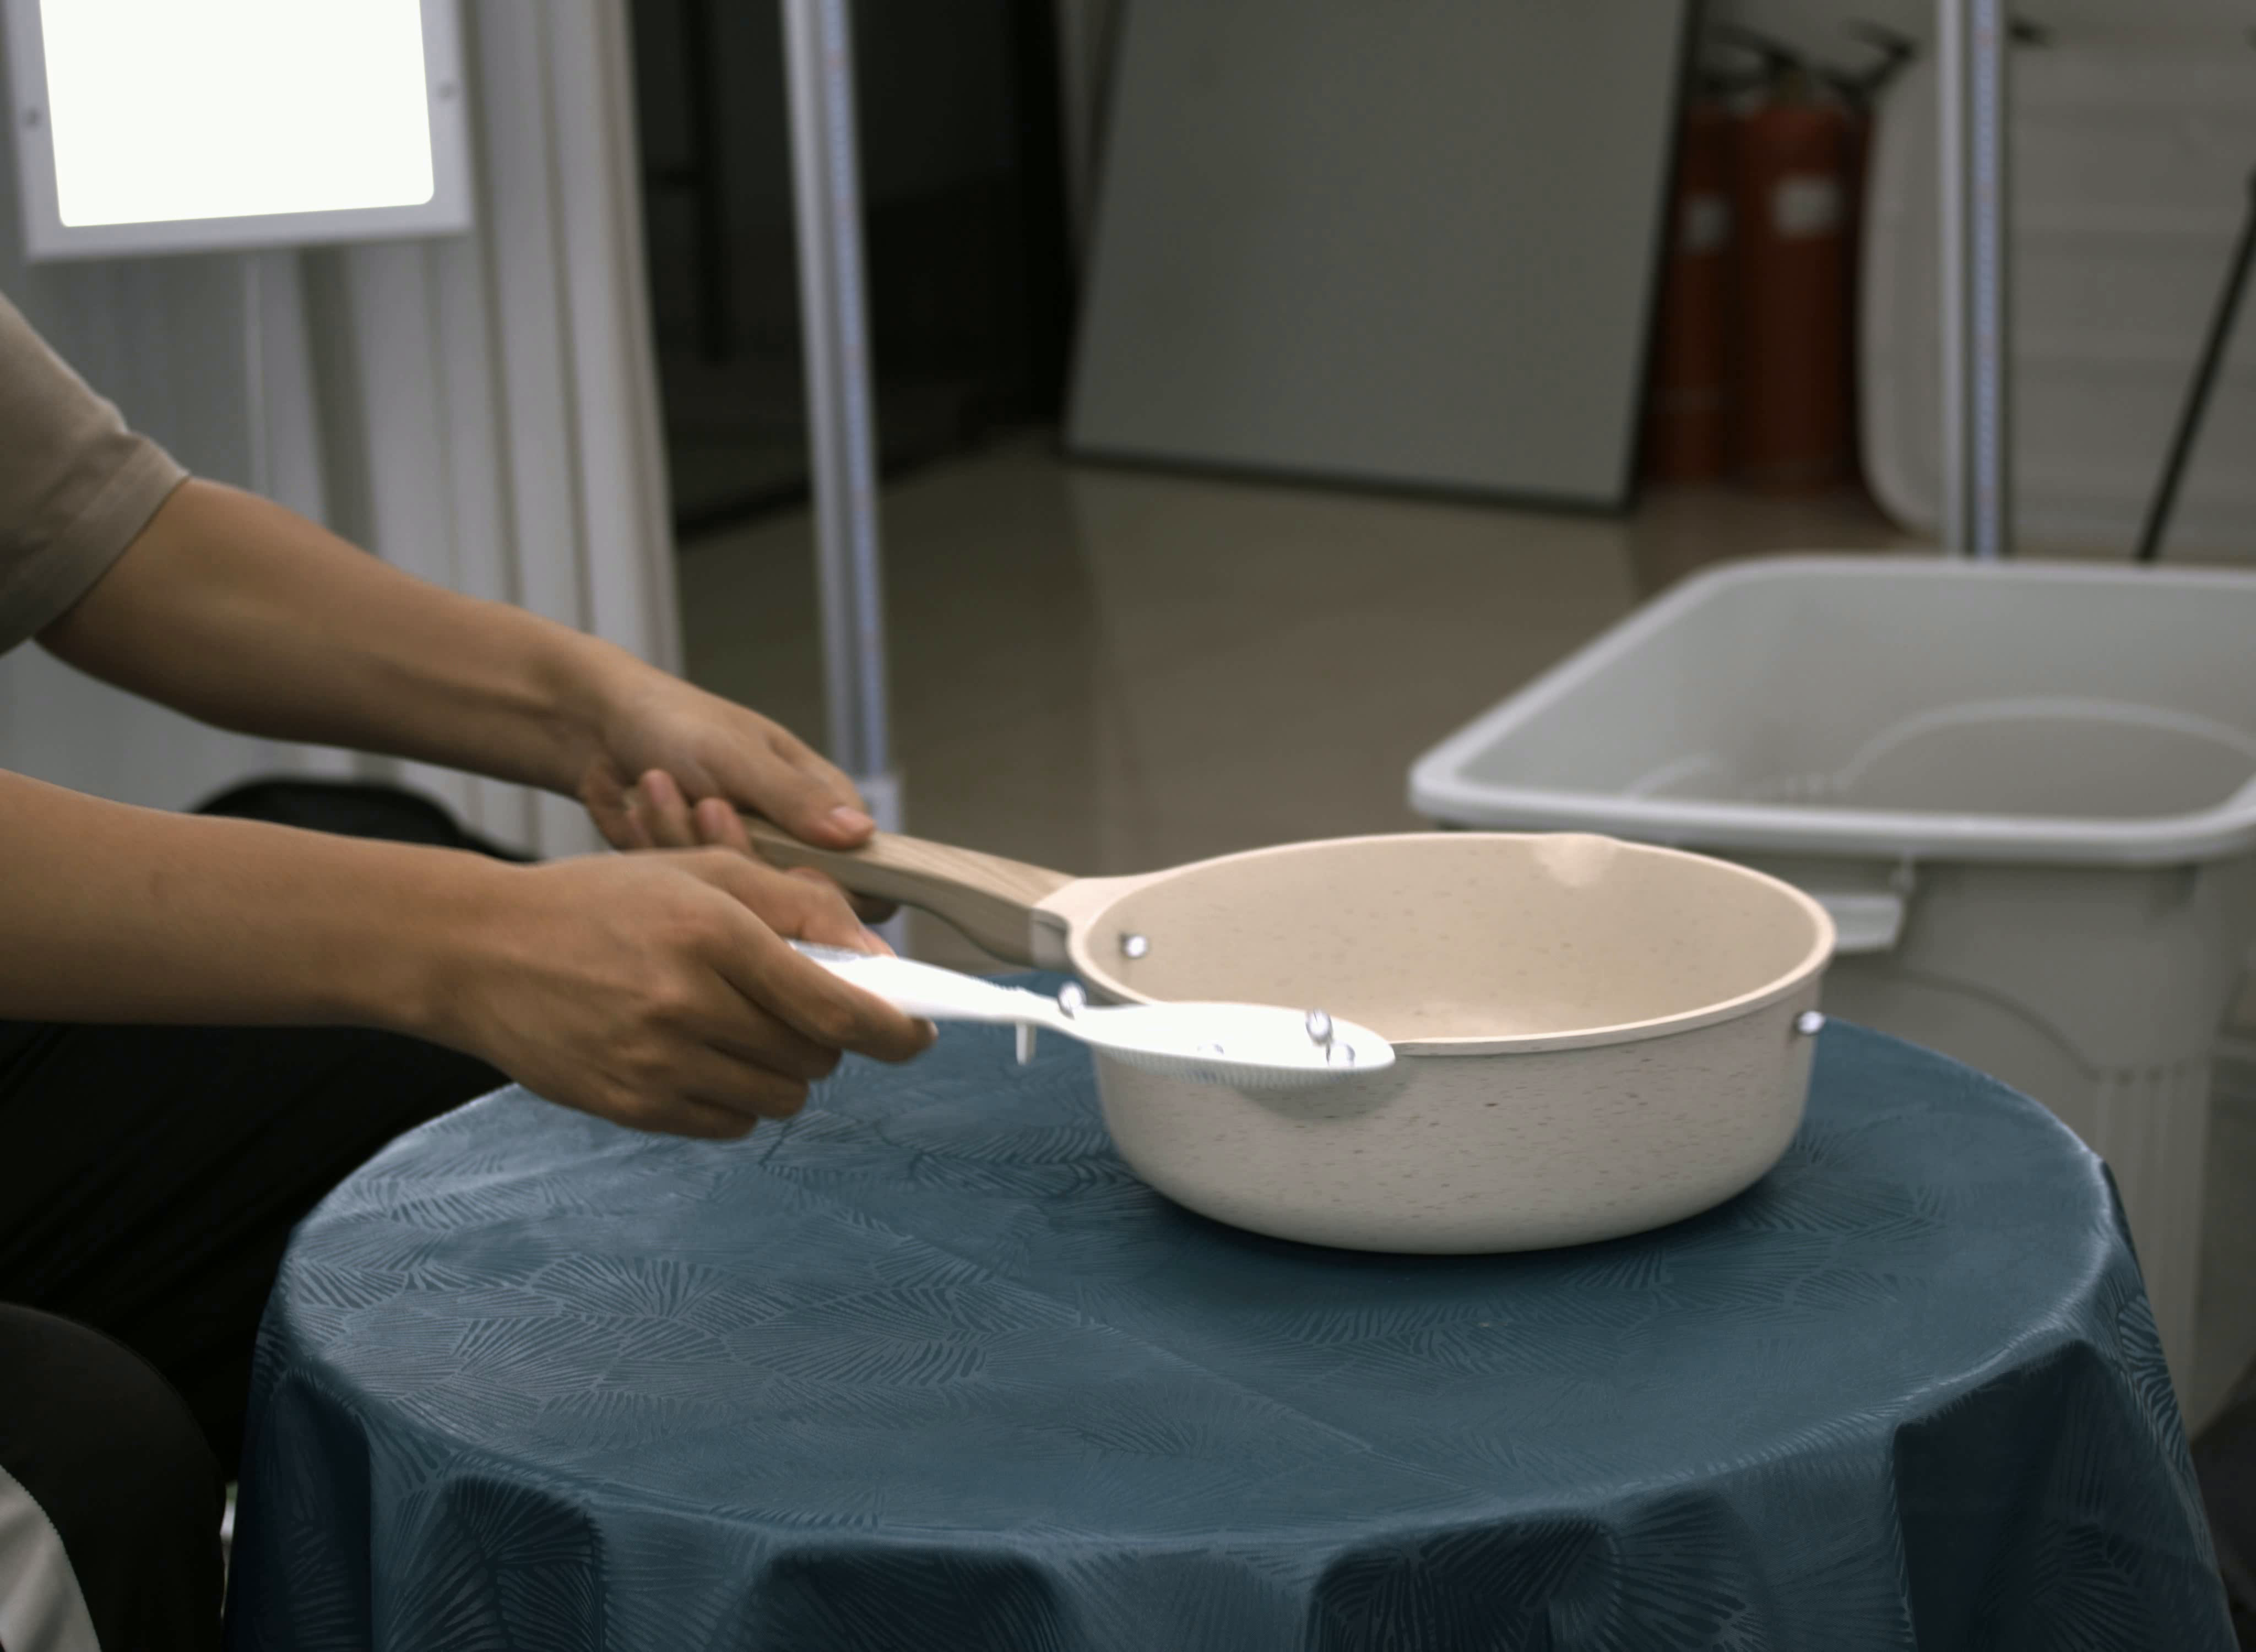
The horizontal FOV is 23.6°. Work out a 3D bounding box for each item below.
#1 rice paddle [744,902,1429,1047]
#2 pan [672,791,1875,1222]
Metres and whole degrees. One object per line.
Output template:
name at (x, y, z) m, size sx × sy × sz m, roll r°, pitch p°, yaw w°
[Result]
rice paddle at (-0.012, 0.045, 1.578) m, size 0.204 × 0.030 × 0.068 m, roll 4°, pitch 10°, yaw 14°
pan at (0.041, 0.049, 1.823) m, size 0.435 × 0.103 × 0.260 m, roll 3°, pitch 17°, yaw 26°
